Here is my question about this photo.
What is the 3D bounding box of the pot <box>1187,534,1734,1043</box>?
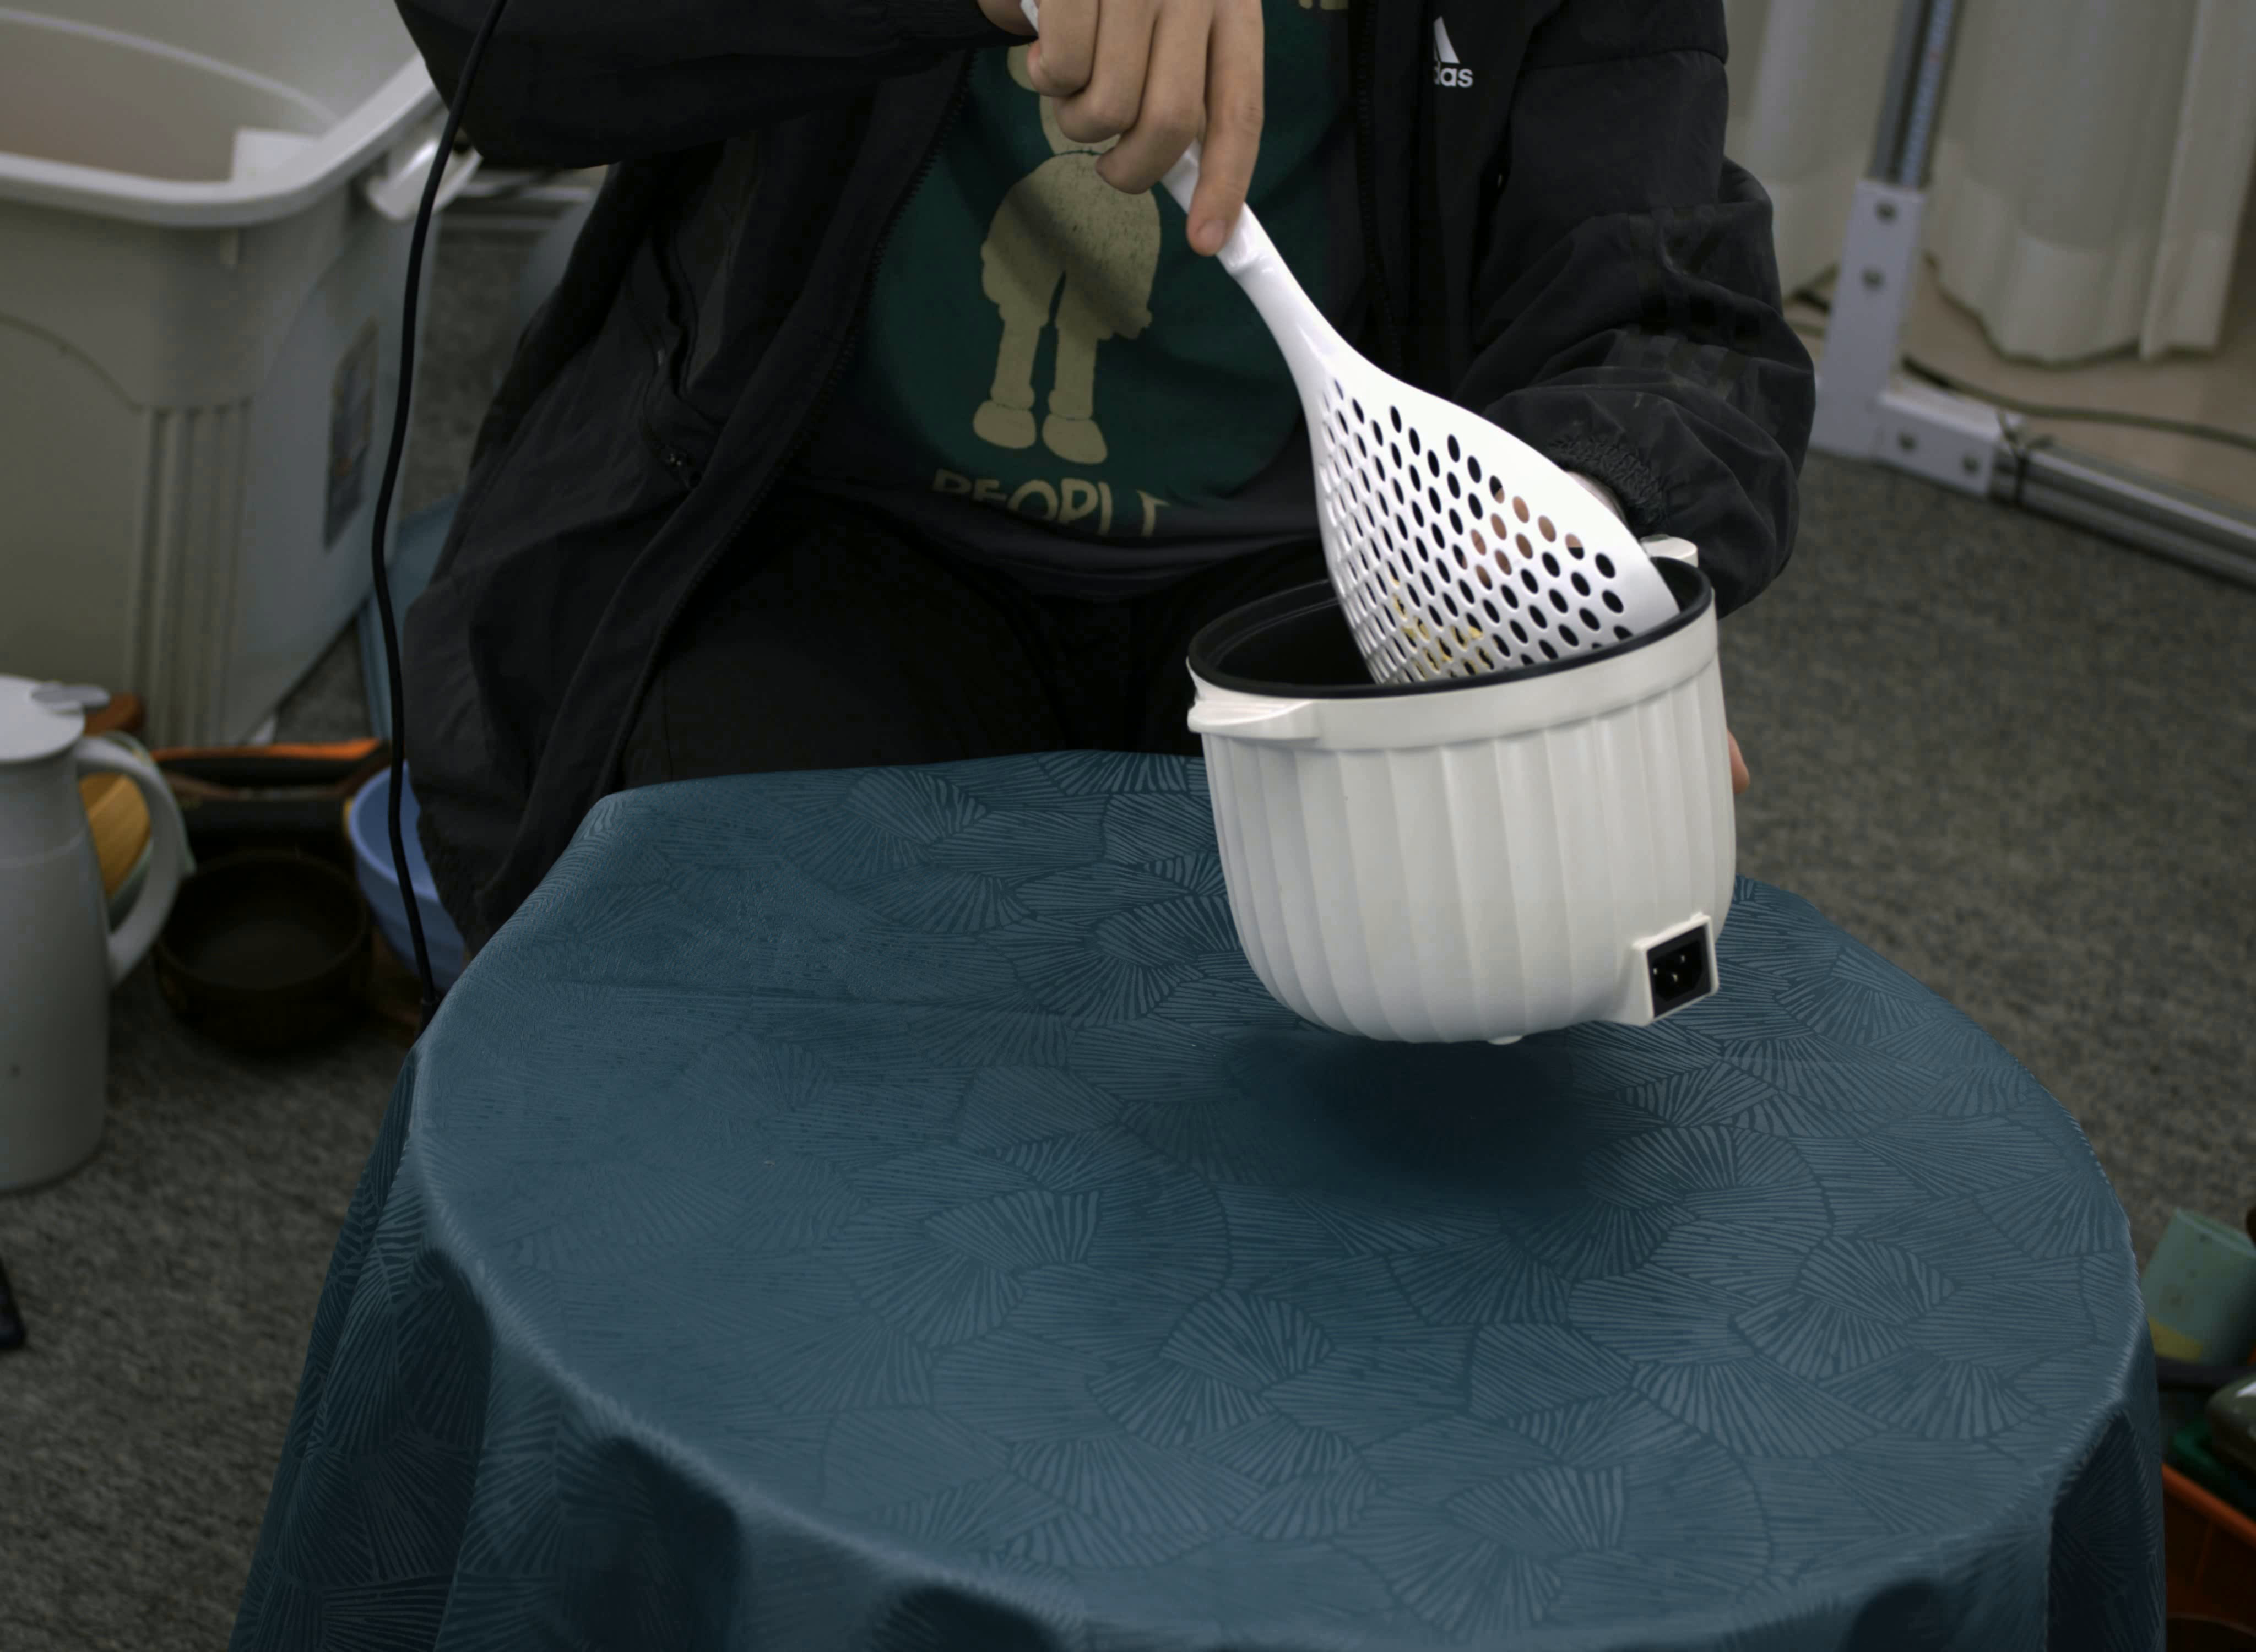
[{"bbox_3d":[0.114,-0.010,1.838,0.239,0.142,0.192,-20,22,-40],"label":"pot"}]

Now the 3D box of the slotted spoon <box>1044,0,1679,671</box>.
[{"bbox_3d":[0.070,-0.154,1.857,0.050,0.137,0.349,-22,77,-46],"label":"slotted spoon"}]
